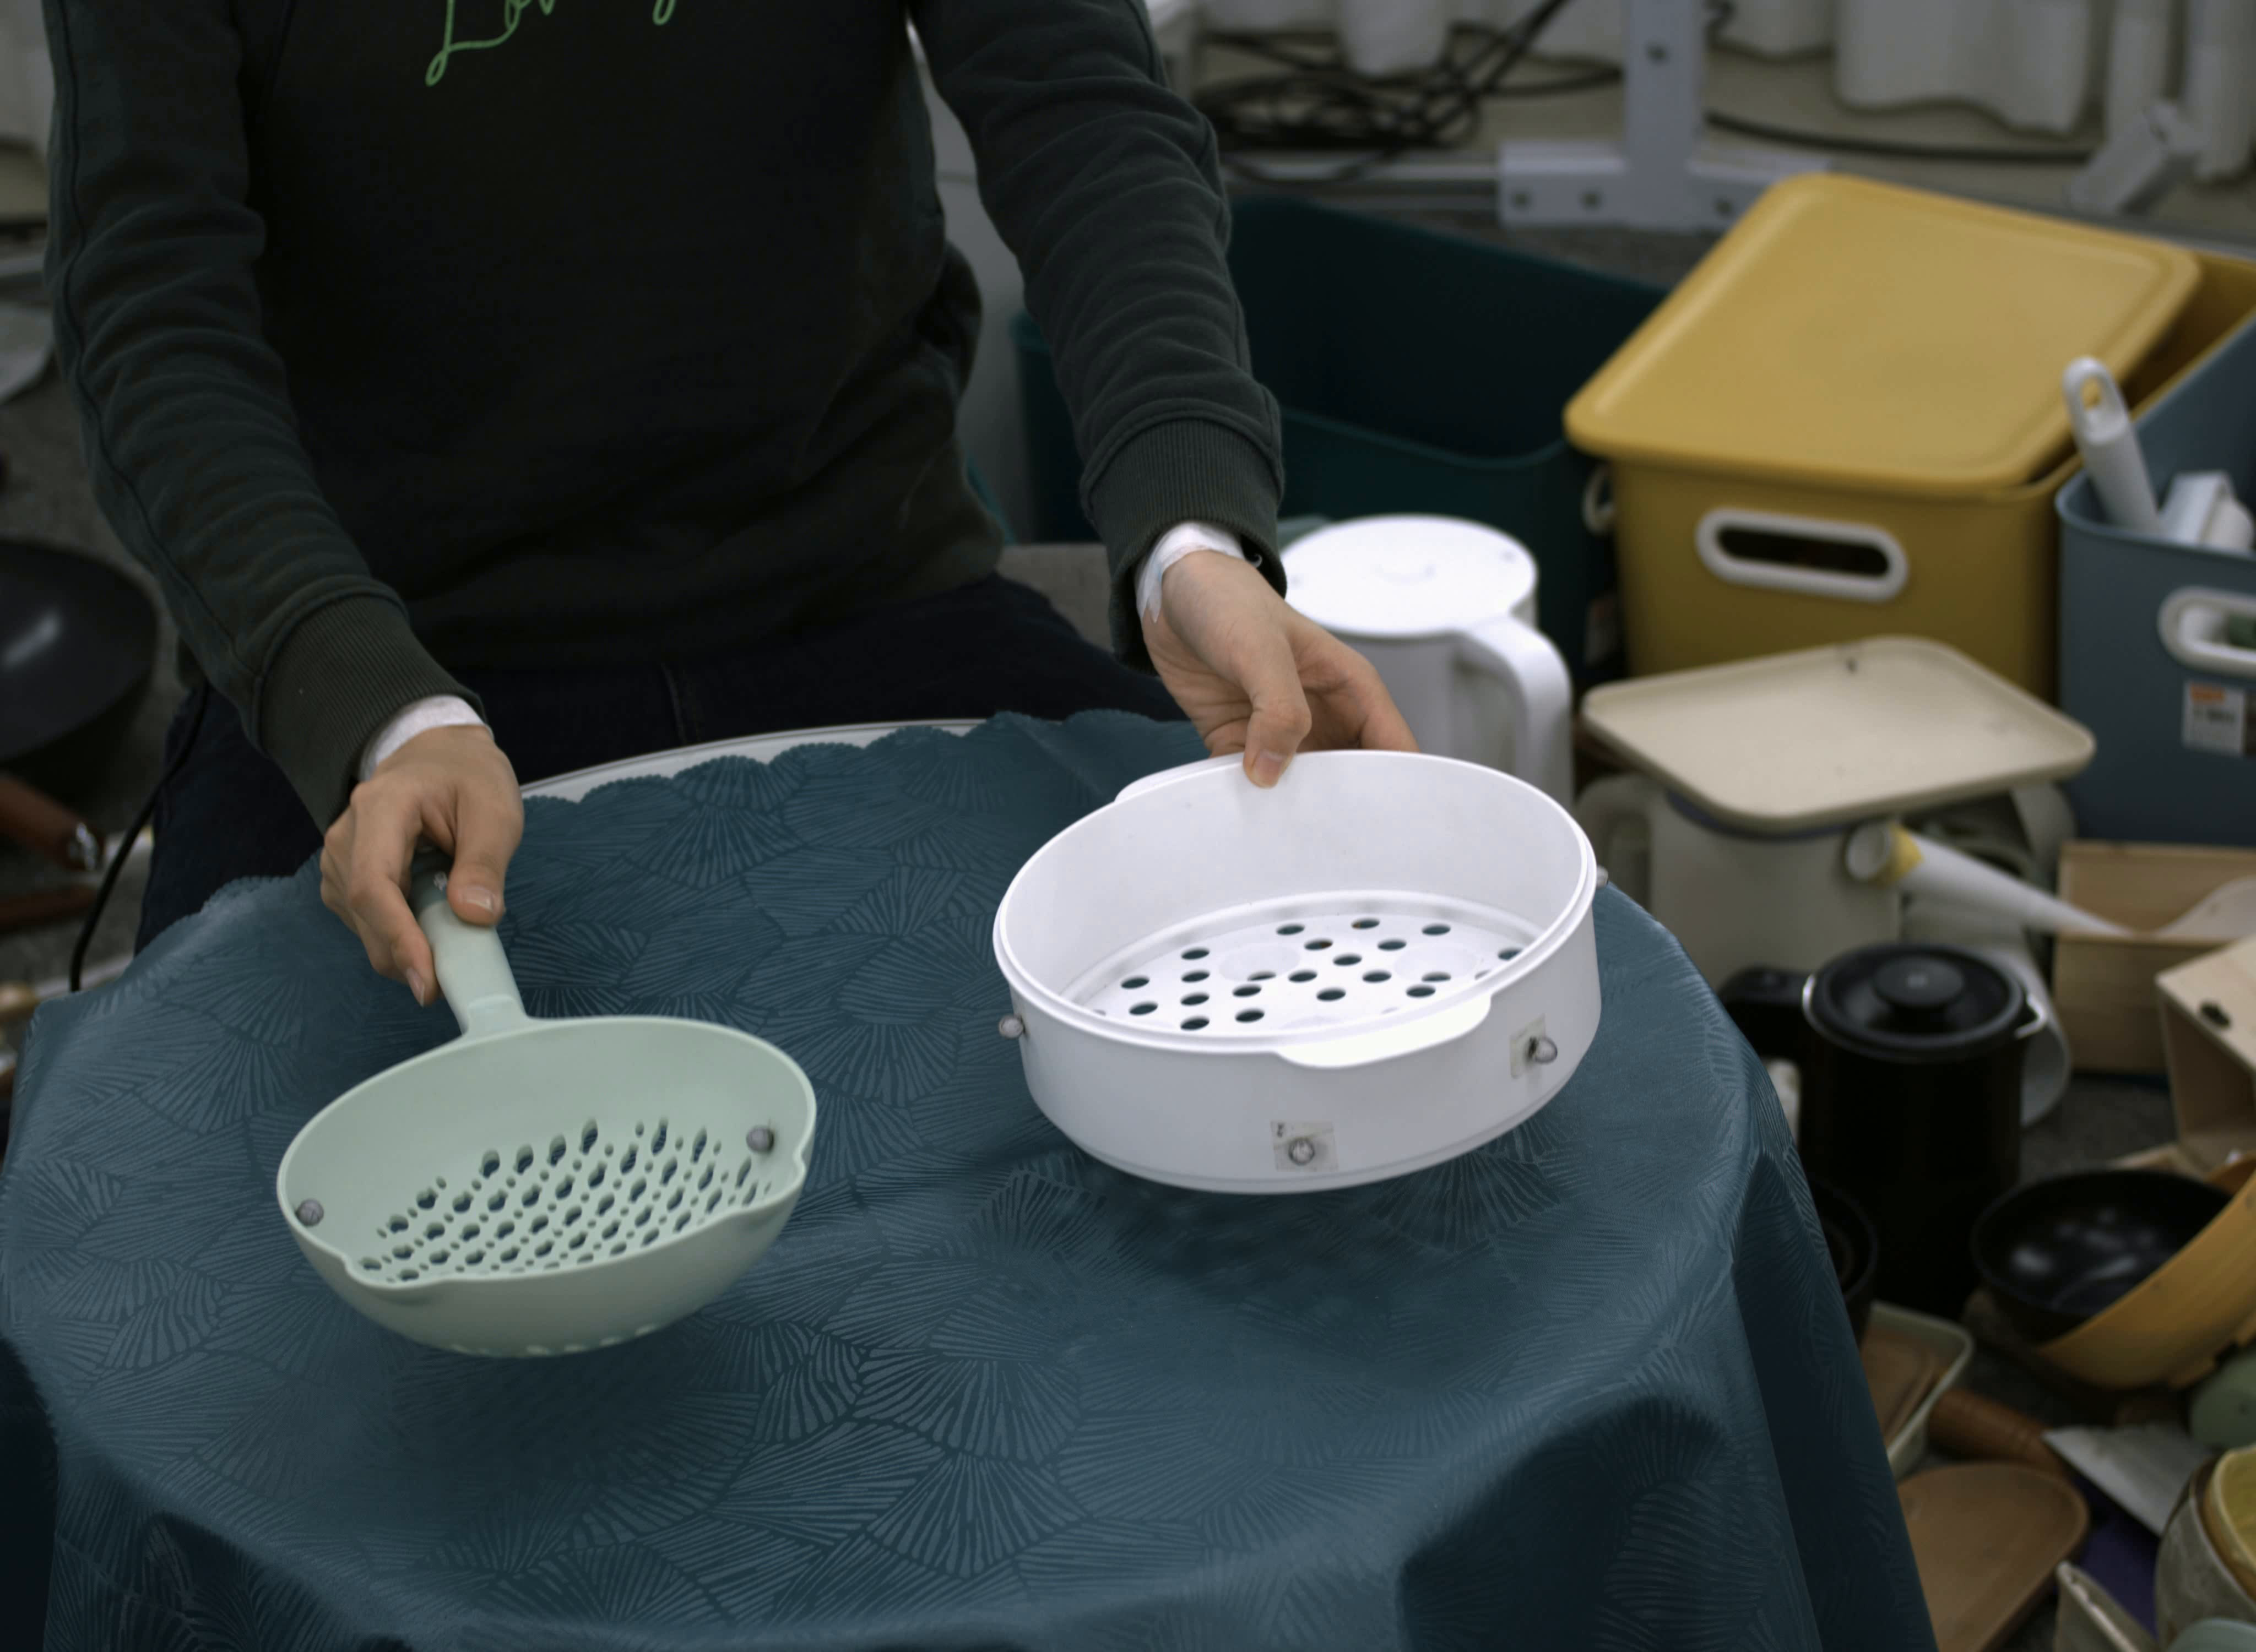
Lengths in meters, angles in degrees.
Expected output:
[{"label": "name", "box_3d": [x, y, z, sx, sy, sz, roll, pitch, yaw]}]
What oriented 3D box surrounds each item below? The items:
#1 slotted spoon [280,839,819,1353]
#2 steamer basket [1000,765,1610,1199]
[{"label": "slotted spoon", "box_3d": [-0.203, 0.071, 1.830, 0.169, 0.074, 0.363, -11, 32, -12]}, {"label": "steamer basket", "box_3d": [0.061, 0.051, 1.856, 0.202, 0.068, 0.232, -13, 26, -13]}]
